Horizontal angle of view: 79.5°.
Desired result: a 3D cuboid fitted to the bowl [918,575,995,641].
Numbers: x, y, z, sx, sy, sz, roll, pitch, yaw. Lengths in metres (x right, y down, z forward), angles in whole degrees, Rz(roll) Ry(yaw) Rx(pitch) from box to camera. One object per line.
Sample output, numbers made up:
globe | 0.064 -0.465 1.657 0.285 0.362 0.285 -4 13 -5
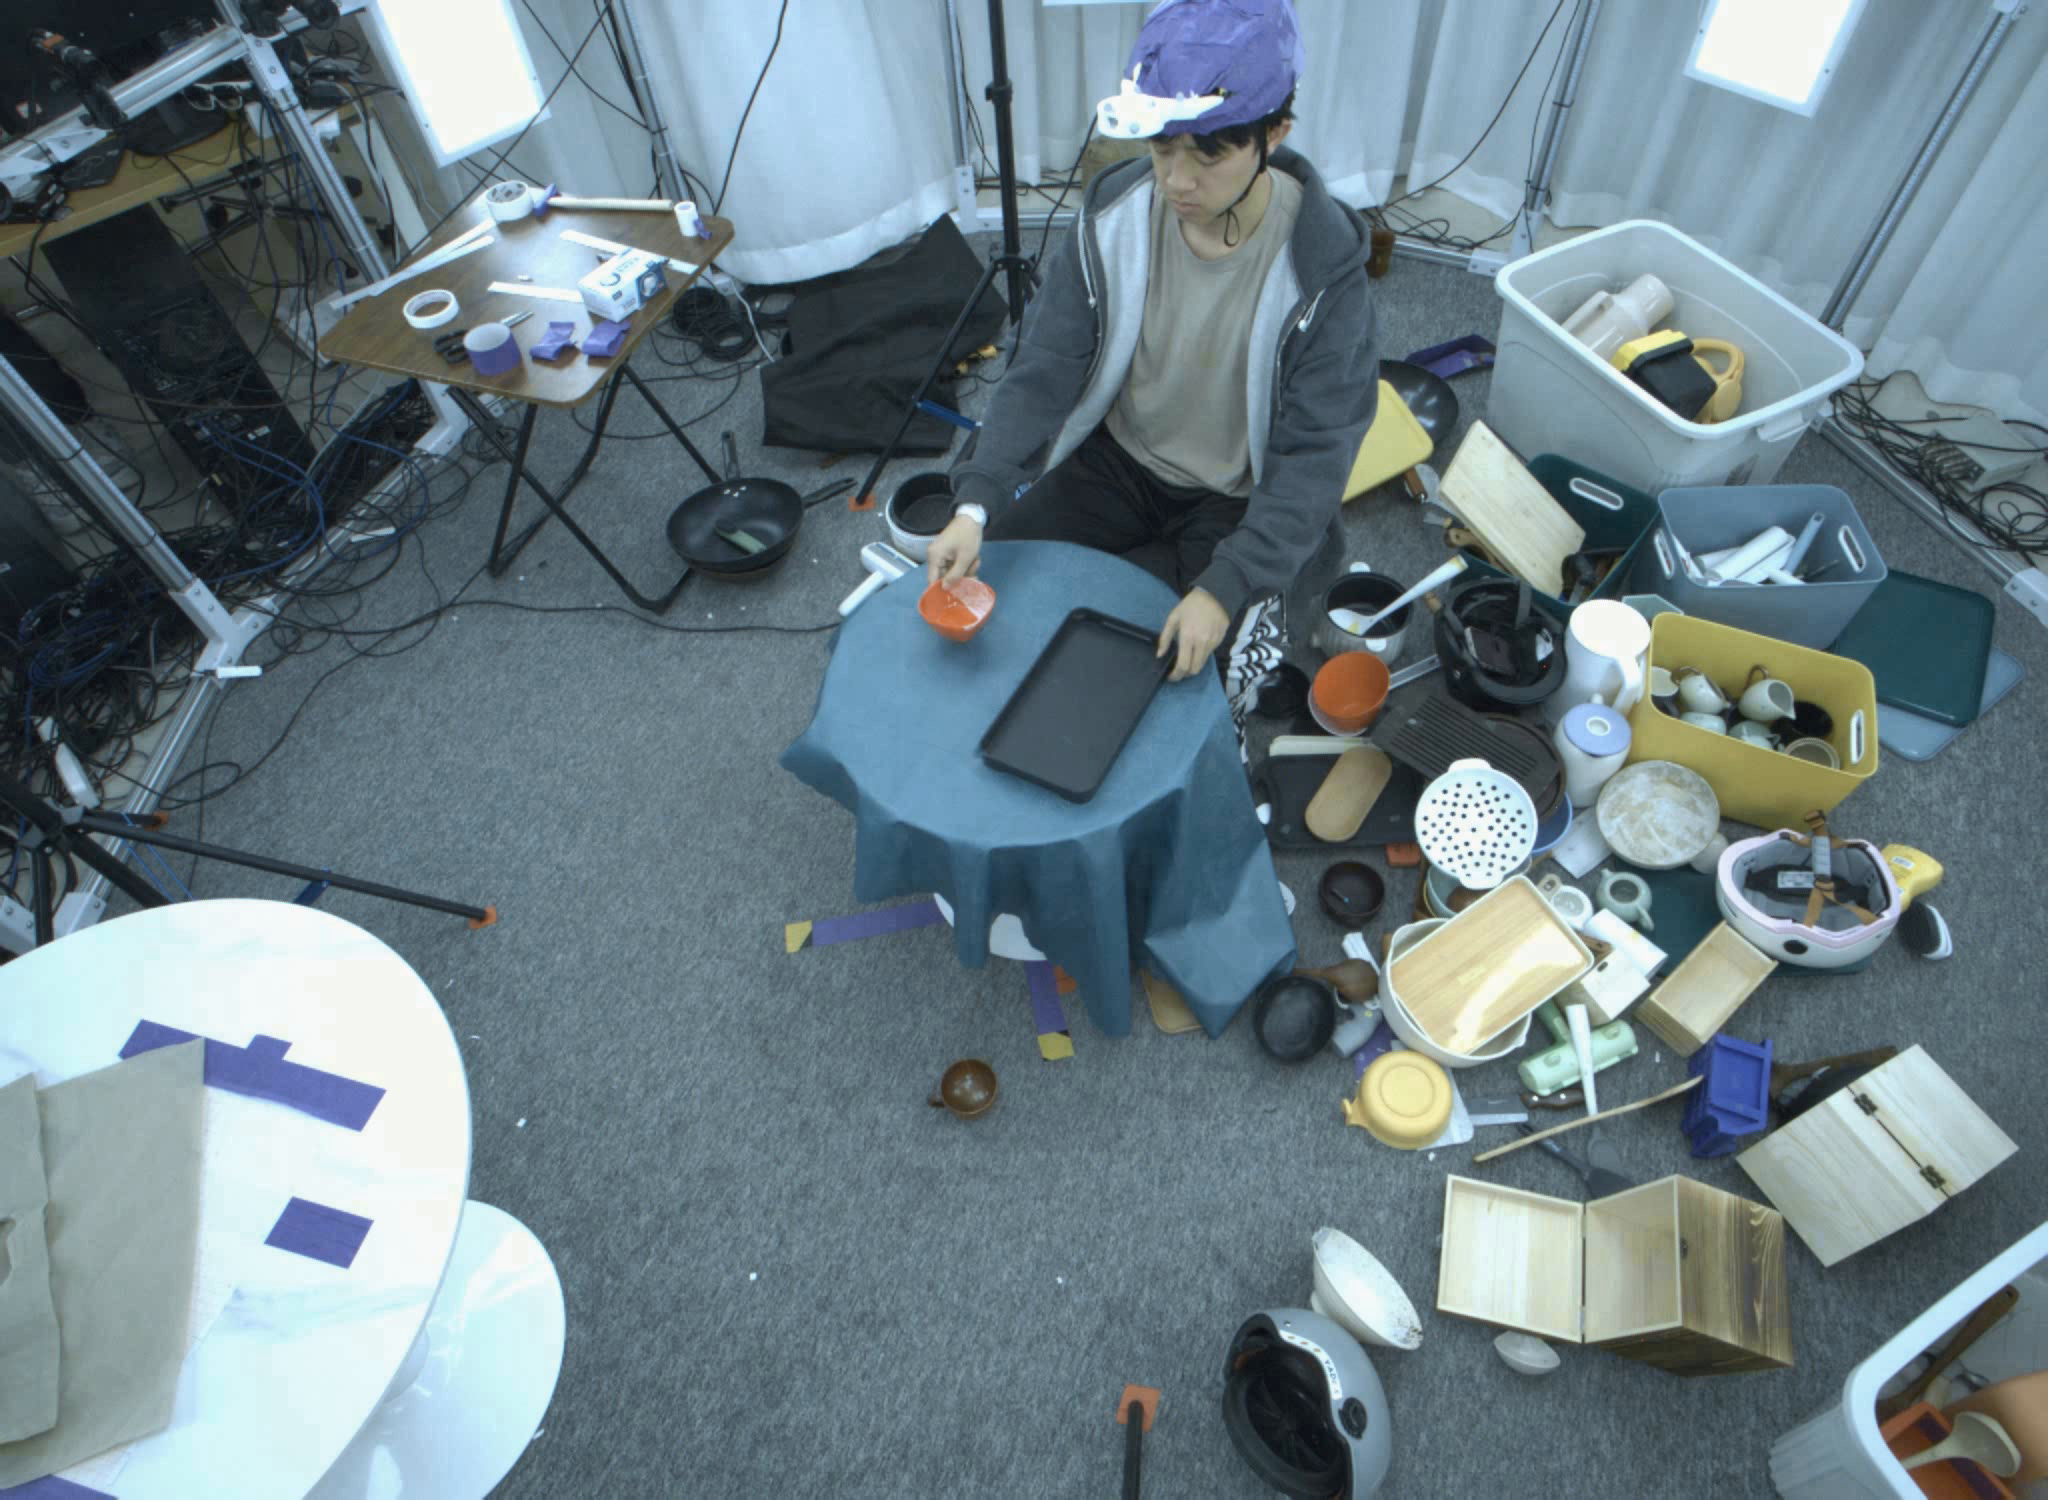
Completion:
bowl | -0.101 -0.210 1.868 0.119 0.052 0.117 -1 51 2

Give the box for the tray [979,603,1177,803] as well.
tray | 0.084 -0.076 1.816 0.182 0.037 0.318 23 59 17
